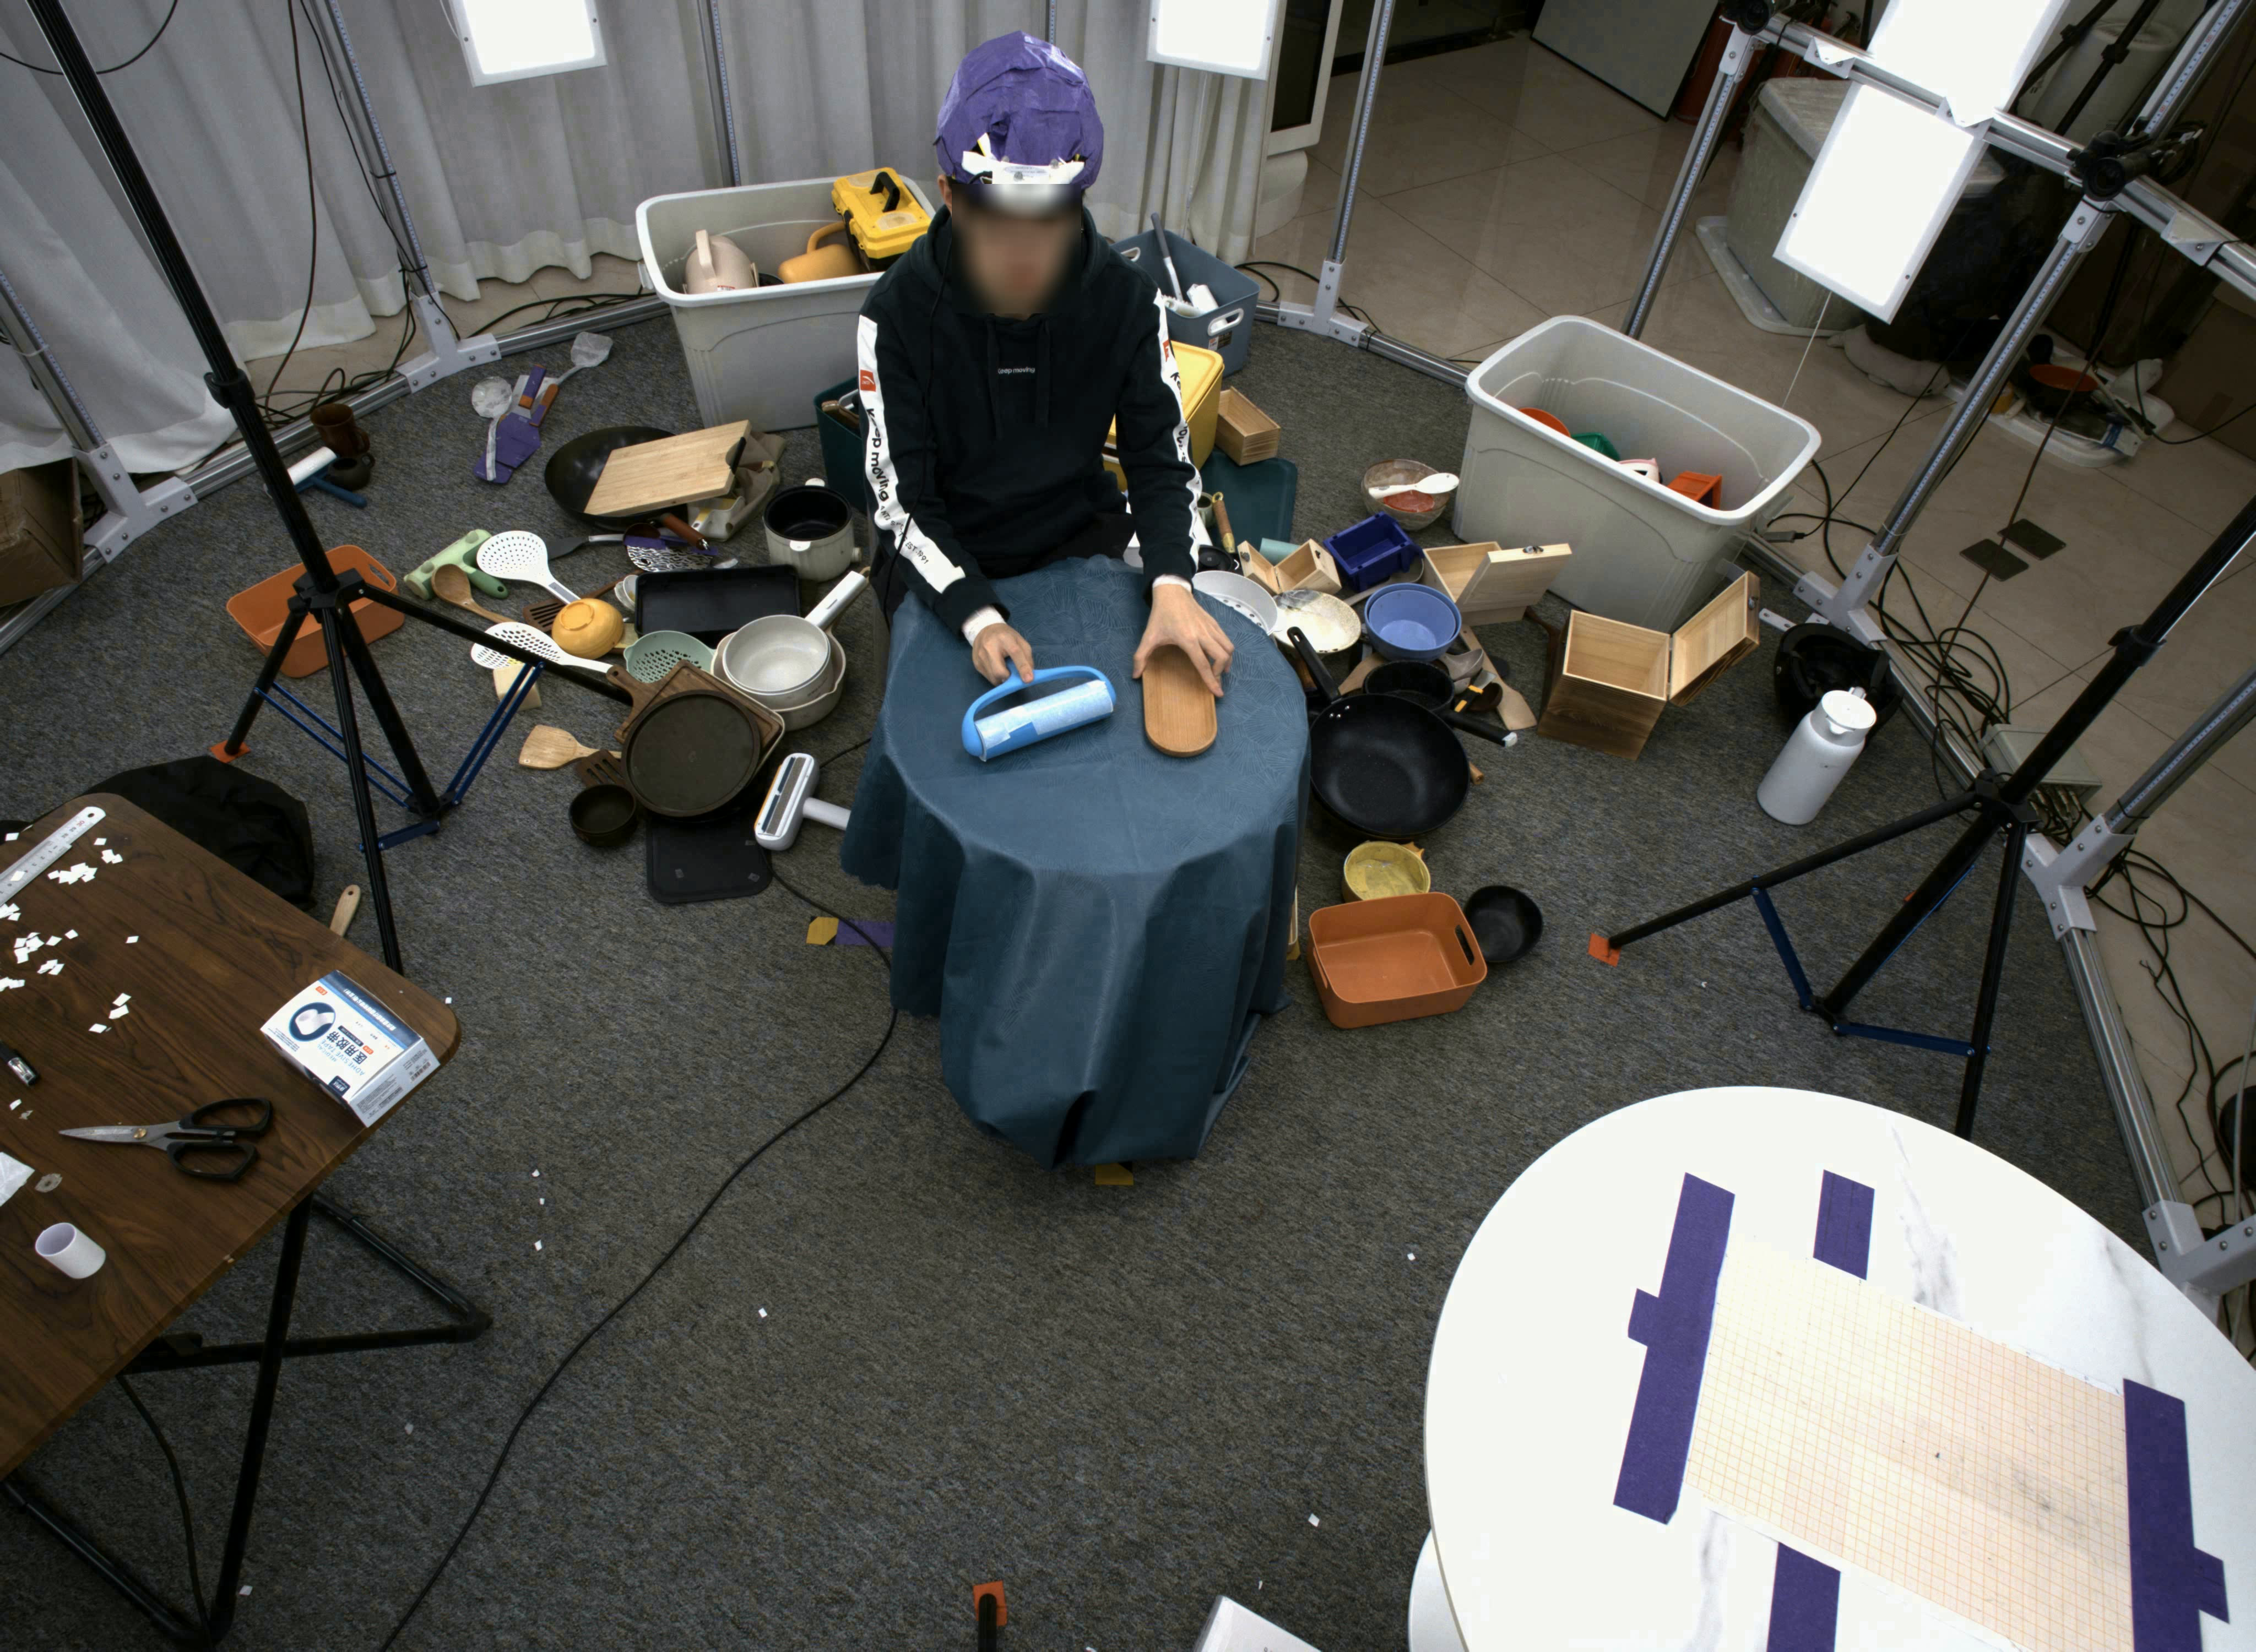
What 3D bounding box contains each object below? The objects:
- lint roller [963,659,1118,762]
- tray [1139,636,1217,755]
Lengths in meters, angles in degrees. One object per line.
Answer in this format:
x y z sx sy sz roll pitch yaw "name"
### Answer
-0.147 -0.187 1.783 0.230 0.066 0.184 -24 56 -21 "lint roller"
0.070 -0.188 1.826 0.101 0.020 0.237 1 48 -5 "tray"
